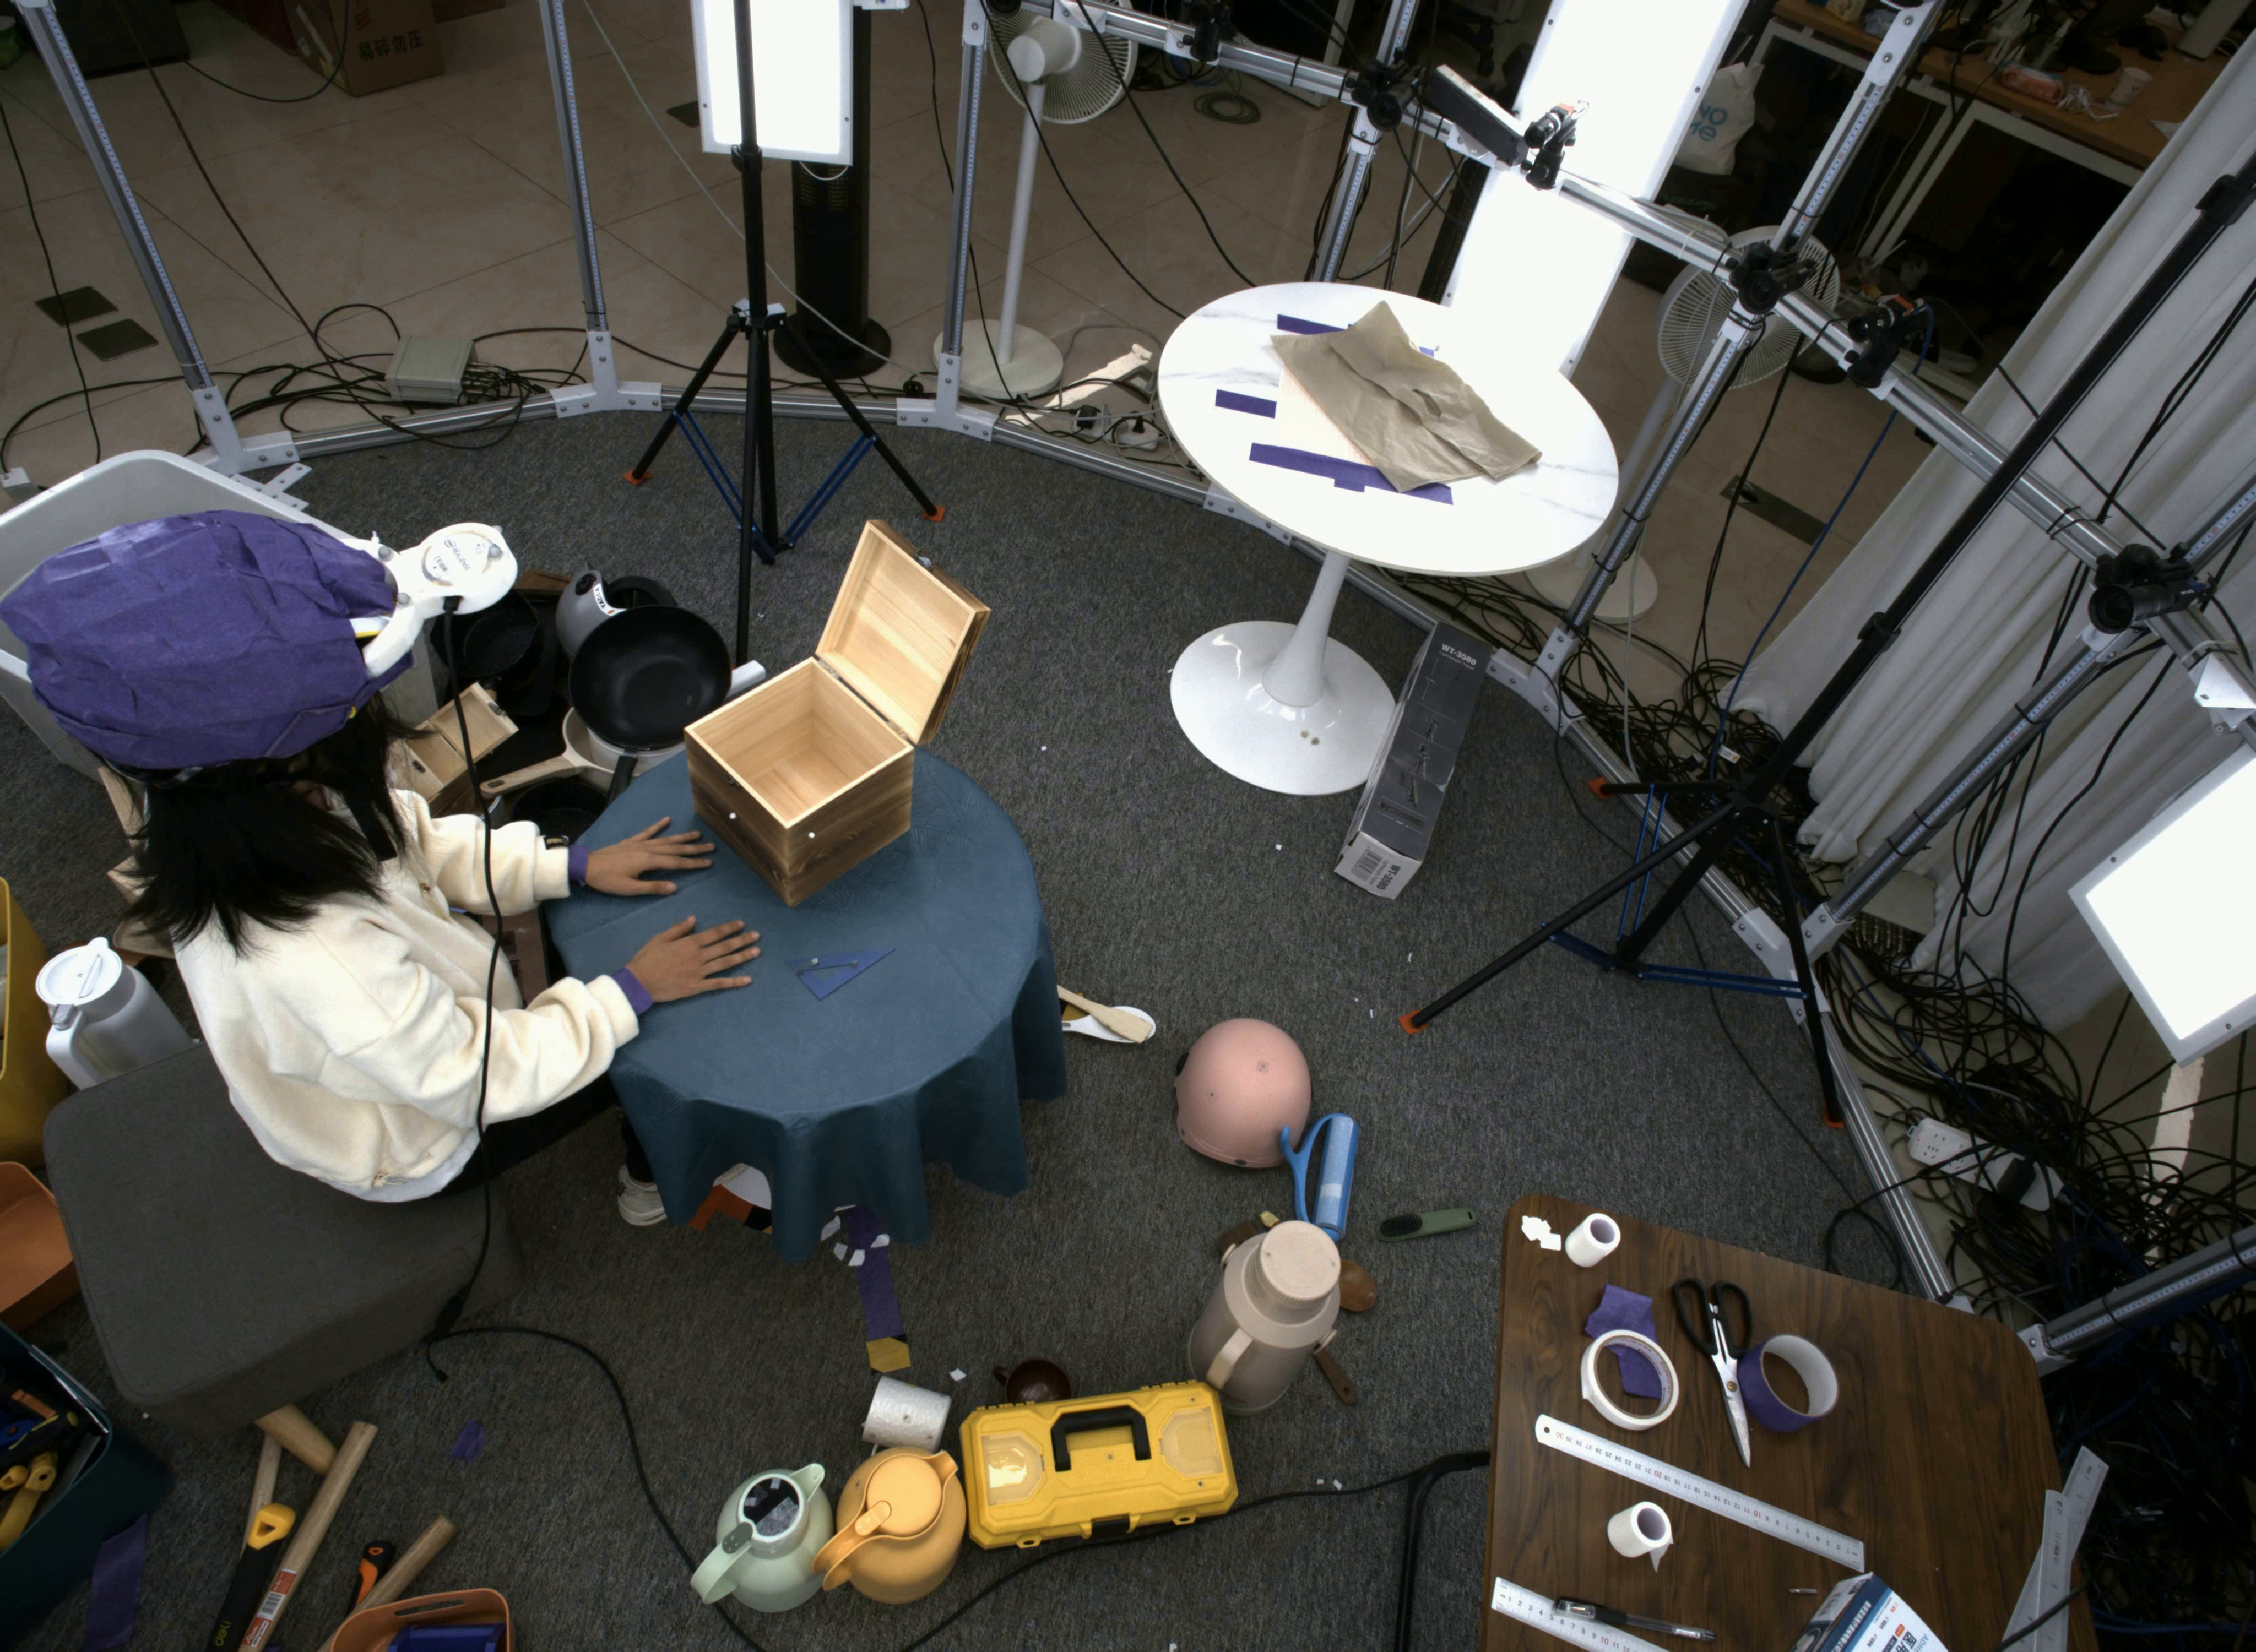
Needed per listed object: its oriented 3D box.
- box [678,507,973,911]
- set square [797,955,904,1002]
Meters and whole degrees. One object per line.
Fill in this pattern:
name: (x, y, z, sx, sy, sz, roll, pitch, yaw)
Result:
box: (-0.374, -0.147, 1.611, 0.204, 0.384, 0.323, 38, 53, 19)
set square: (-0.339, 0.185, 1.600, 0.132, 0.007, 0.059, -4, 52, -17)
